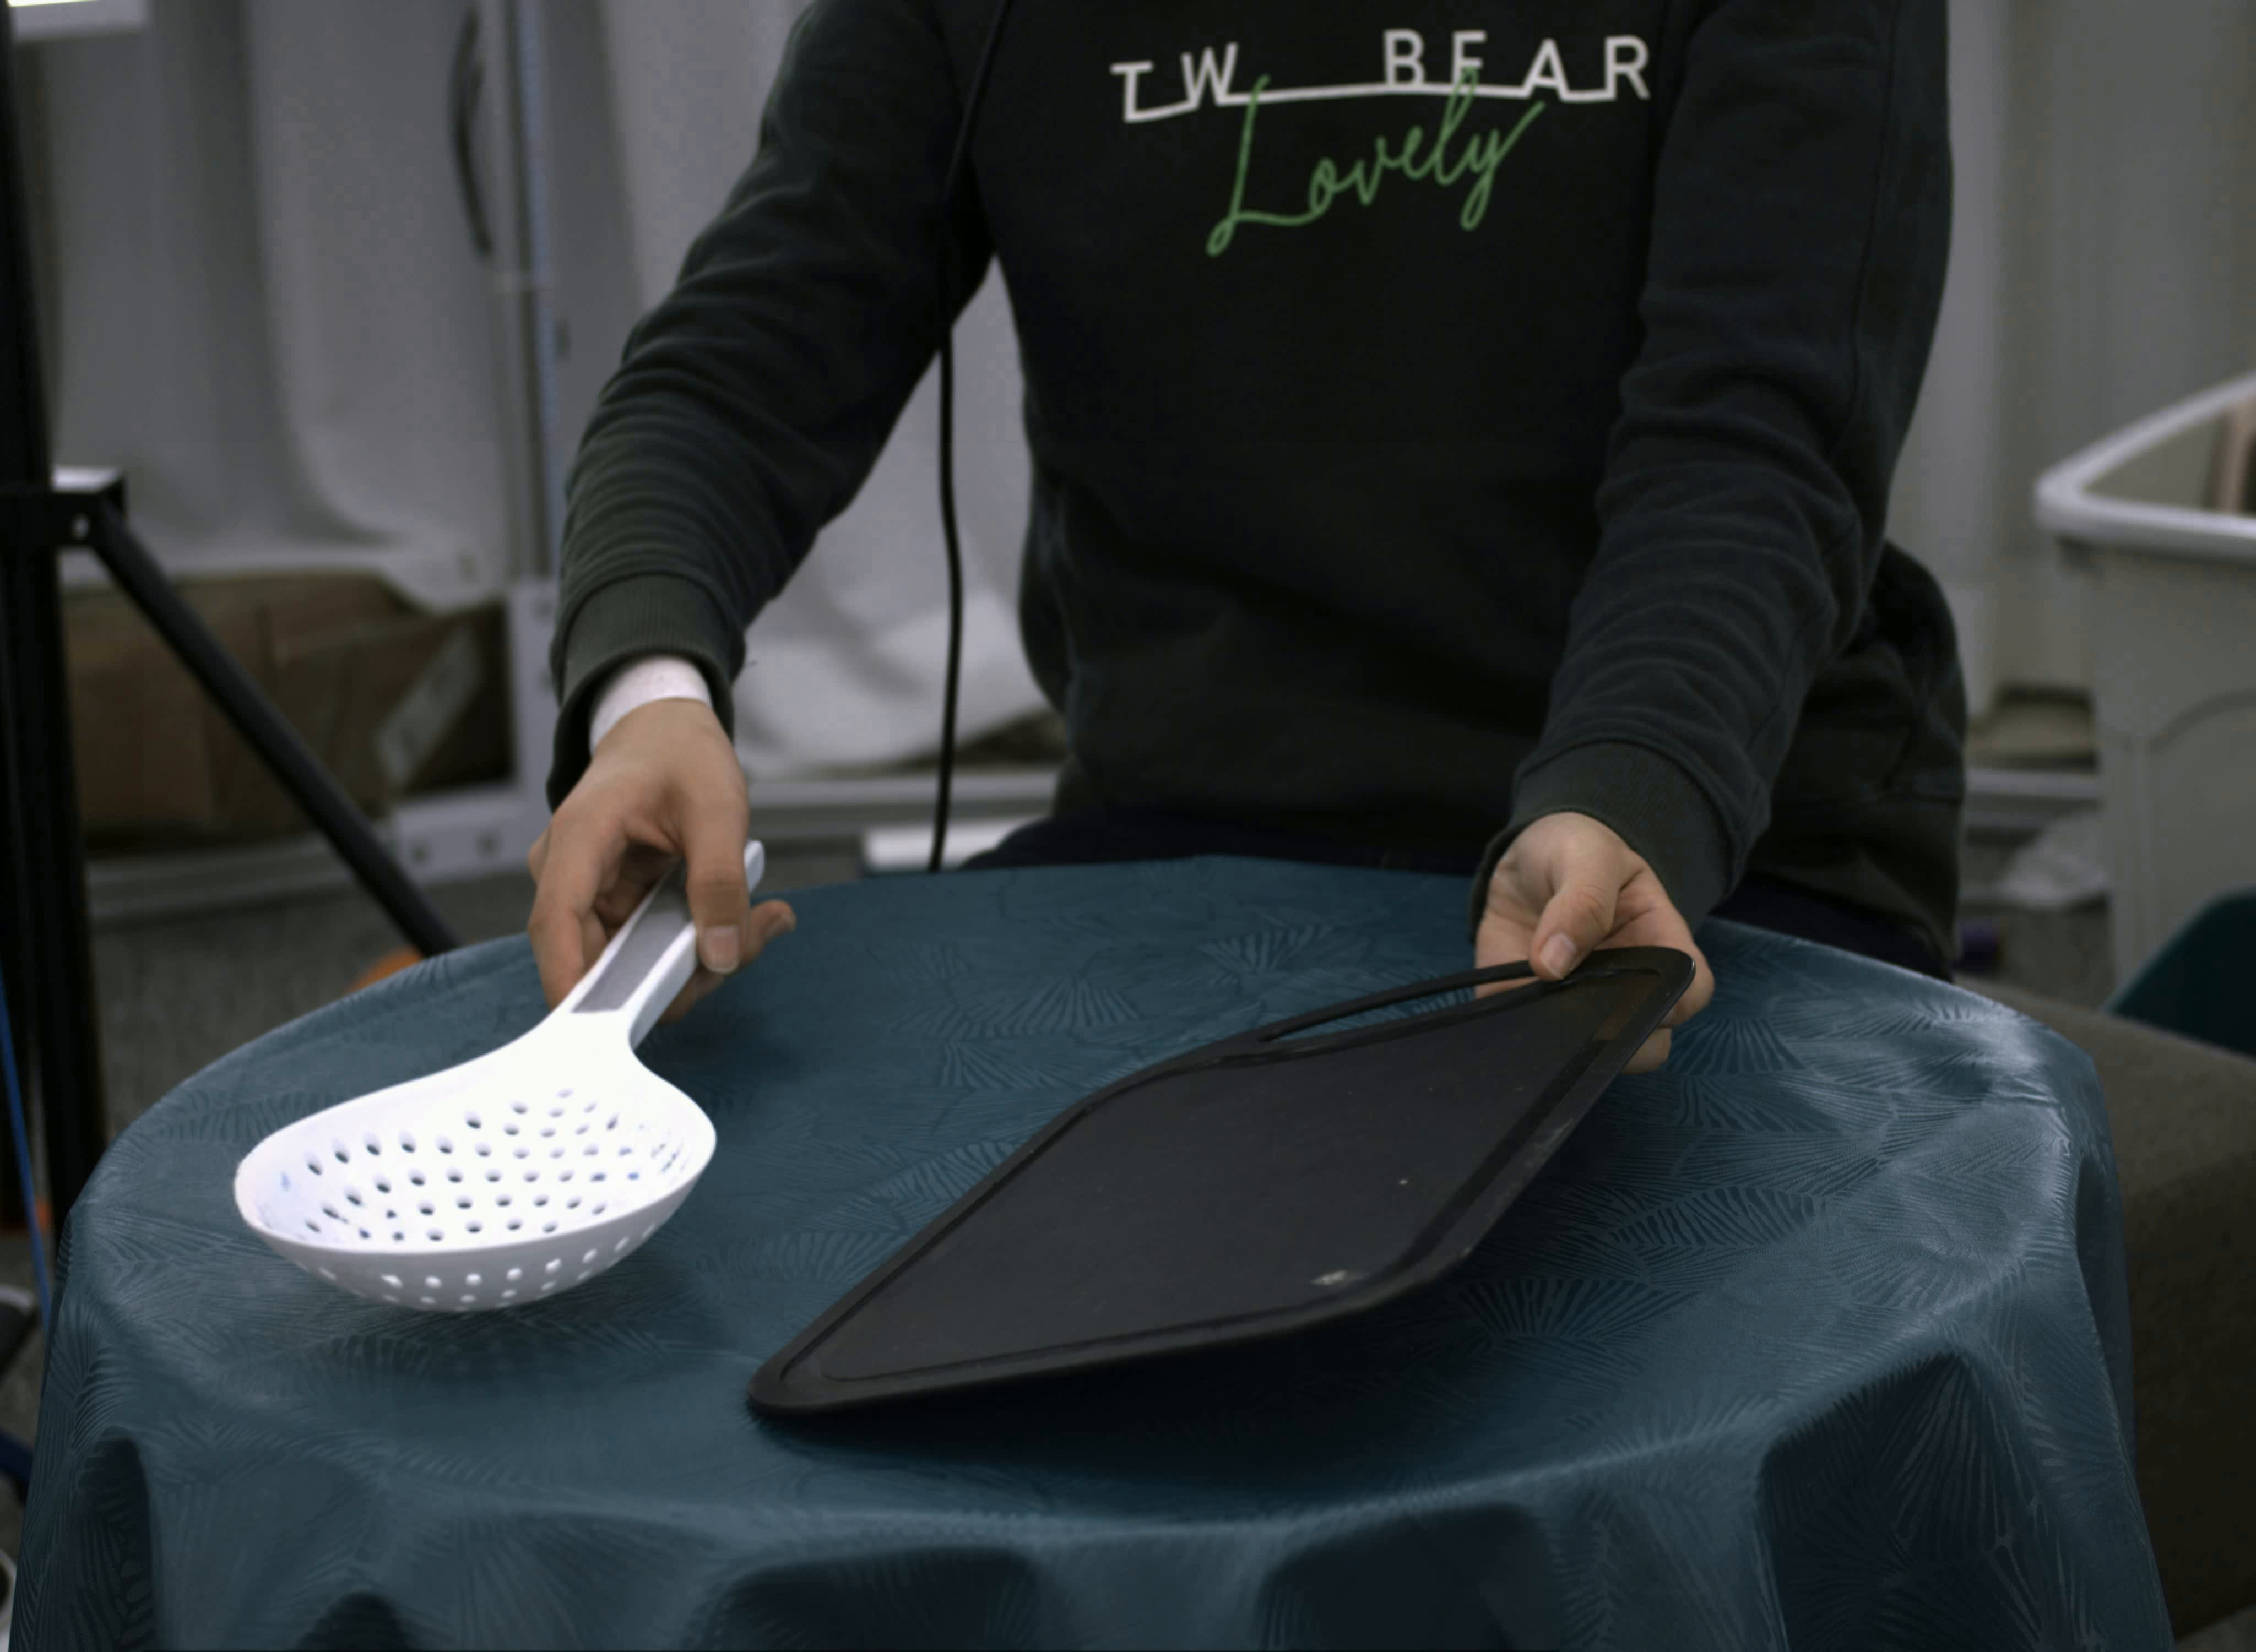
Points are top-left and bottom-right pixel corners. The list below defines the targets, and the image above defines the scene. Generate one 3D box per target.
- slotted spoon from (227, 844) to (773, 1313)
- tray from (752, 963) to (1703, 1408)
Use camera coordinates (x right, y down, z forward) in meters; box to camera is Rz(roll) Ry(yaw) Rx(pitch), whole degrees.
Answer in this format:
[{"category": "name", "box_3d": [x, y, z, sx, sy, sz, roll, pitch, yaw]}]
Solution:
[{"category": "slotted spoon", "box_3d": [-0.162, 0.067, 1.587, 0.137, 0.045, 0.349, 0, 23, 12]}, {"category": "tray", "box_3d": [0.036, 0.094, 1.488, 0.214, 0.010, 0.321, -12, 11, 25]}]
